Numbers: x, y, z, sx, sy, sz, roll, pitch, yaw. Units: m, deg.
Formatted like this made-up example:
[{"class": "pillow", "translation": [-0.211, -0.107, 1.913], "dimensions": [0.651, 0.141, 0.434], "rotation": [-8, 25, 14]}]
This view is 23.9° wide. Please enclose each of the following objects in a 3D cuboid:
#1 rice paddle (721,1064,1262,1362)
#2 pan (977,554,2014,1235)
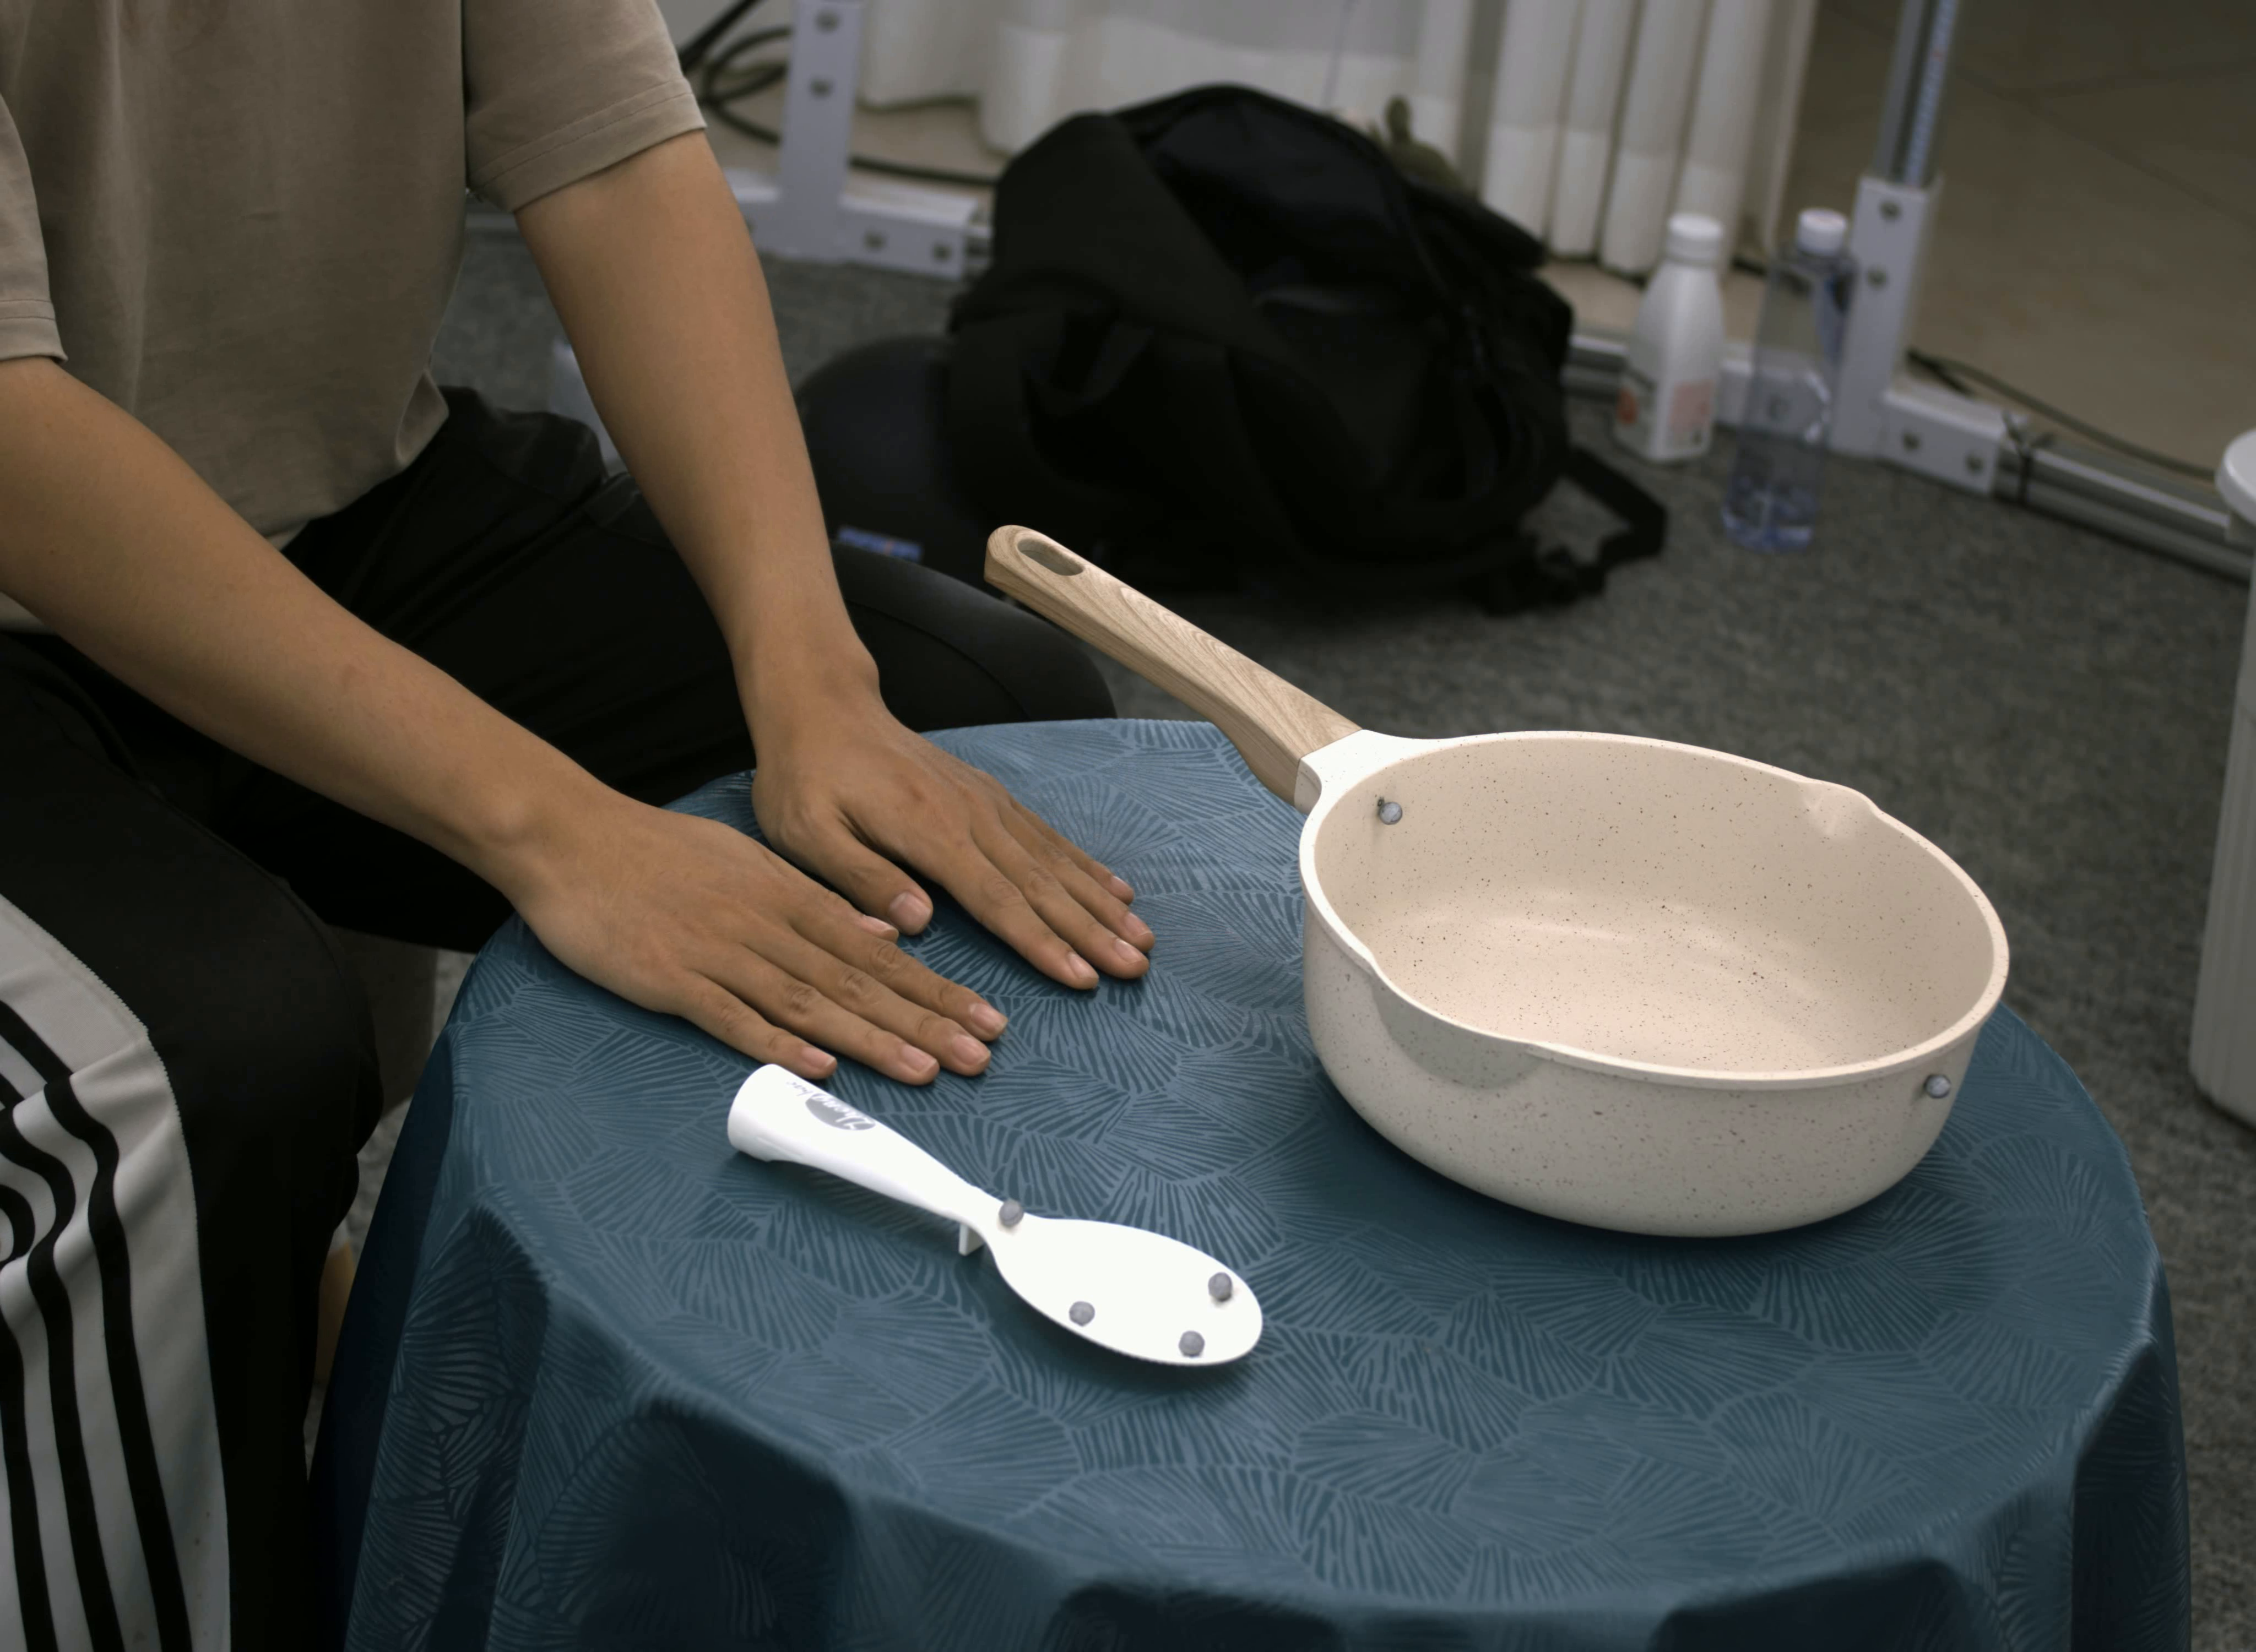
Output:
[{"class": "rice paddle", "translation": [-0.045, 0.129, 1.750], "dimensions": [0.206, 0.029, 0.068], "rotation": [23, 33, 28]}, {"class": "pan", "translation": [0.113, 0.019, 1.934], "dimensions": [0.438, 0.101, 0.262], "rotation": [25, 34, 32]}]
